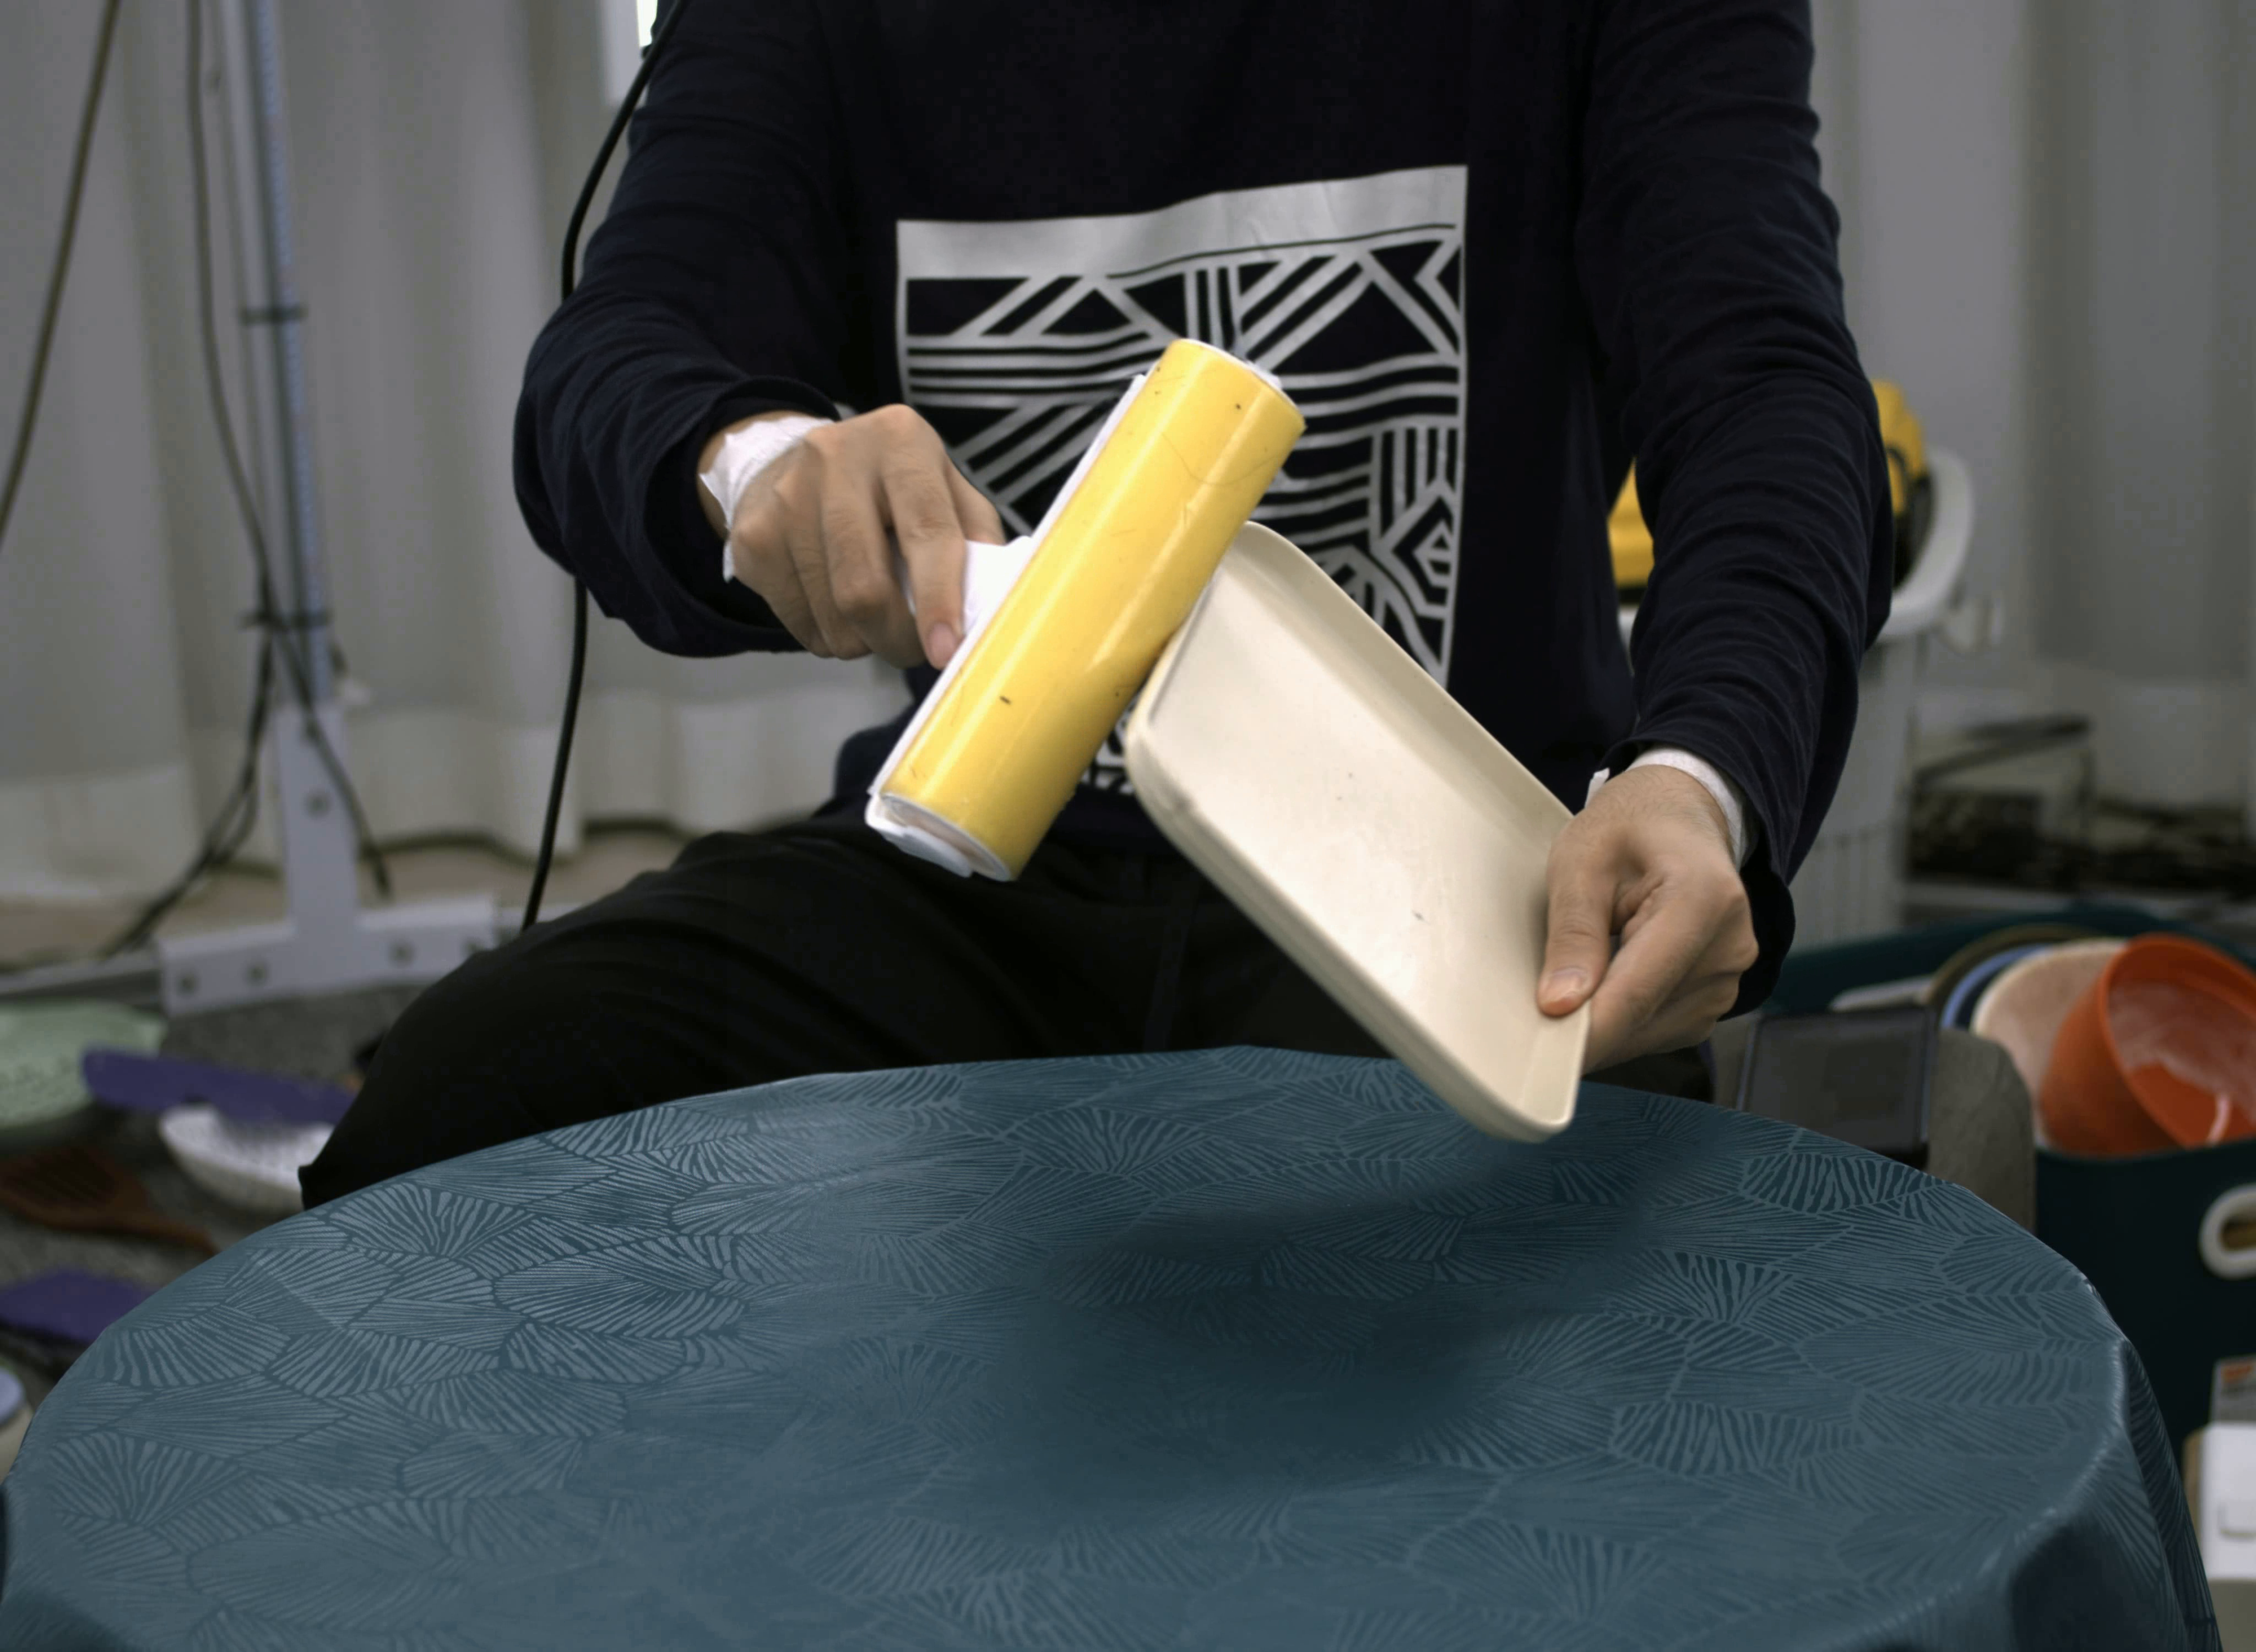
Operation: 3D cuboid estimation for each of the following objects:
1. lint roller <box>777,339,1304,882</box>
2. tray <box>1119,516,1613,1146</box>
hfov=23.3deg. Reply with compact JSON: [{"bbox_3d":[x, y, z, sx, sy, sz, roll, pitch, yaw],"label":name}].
[{"bbox_3d":[-0.055,-0.076,1.641,0.193,0.175,0.051,17,-20,47],"label":"lint roller"},{"bbox_3d":[0.071,0.000,1.612,0.017,0.171,0.241,-43,7,21],"label":"tray"}]
